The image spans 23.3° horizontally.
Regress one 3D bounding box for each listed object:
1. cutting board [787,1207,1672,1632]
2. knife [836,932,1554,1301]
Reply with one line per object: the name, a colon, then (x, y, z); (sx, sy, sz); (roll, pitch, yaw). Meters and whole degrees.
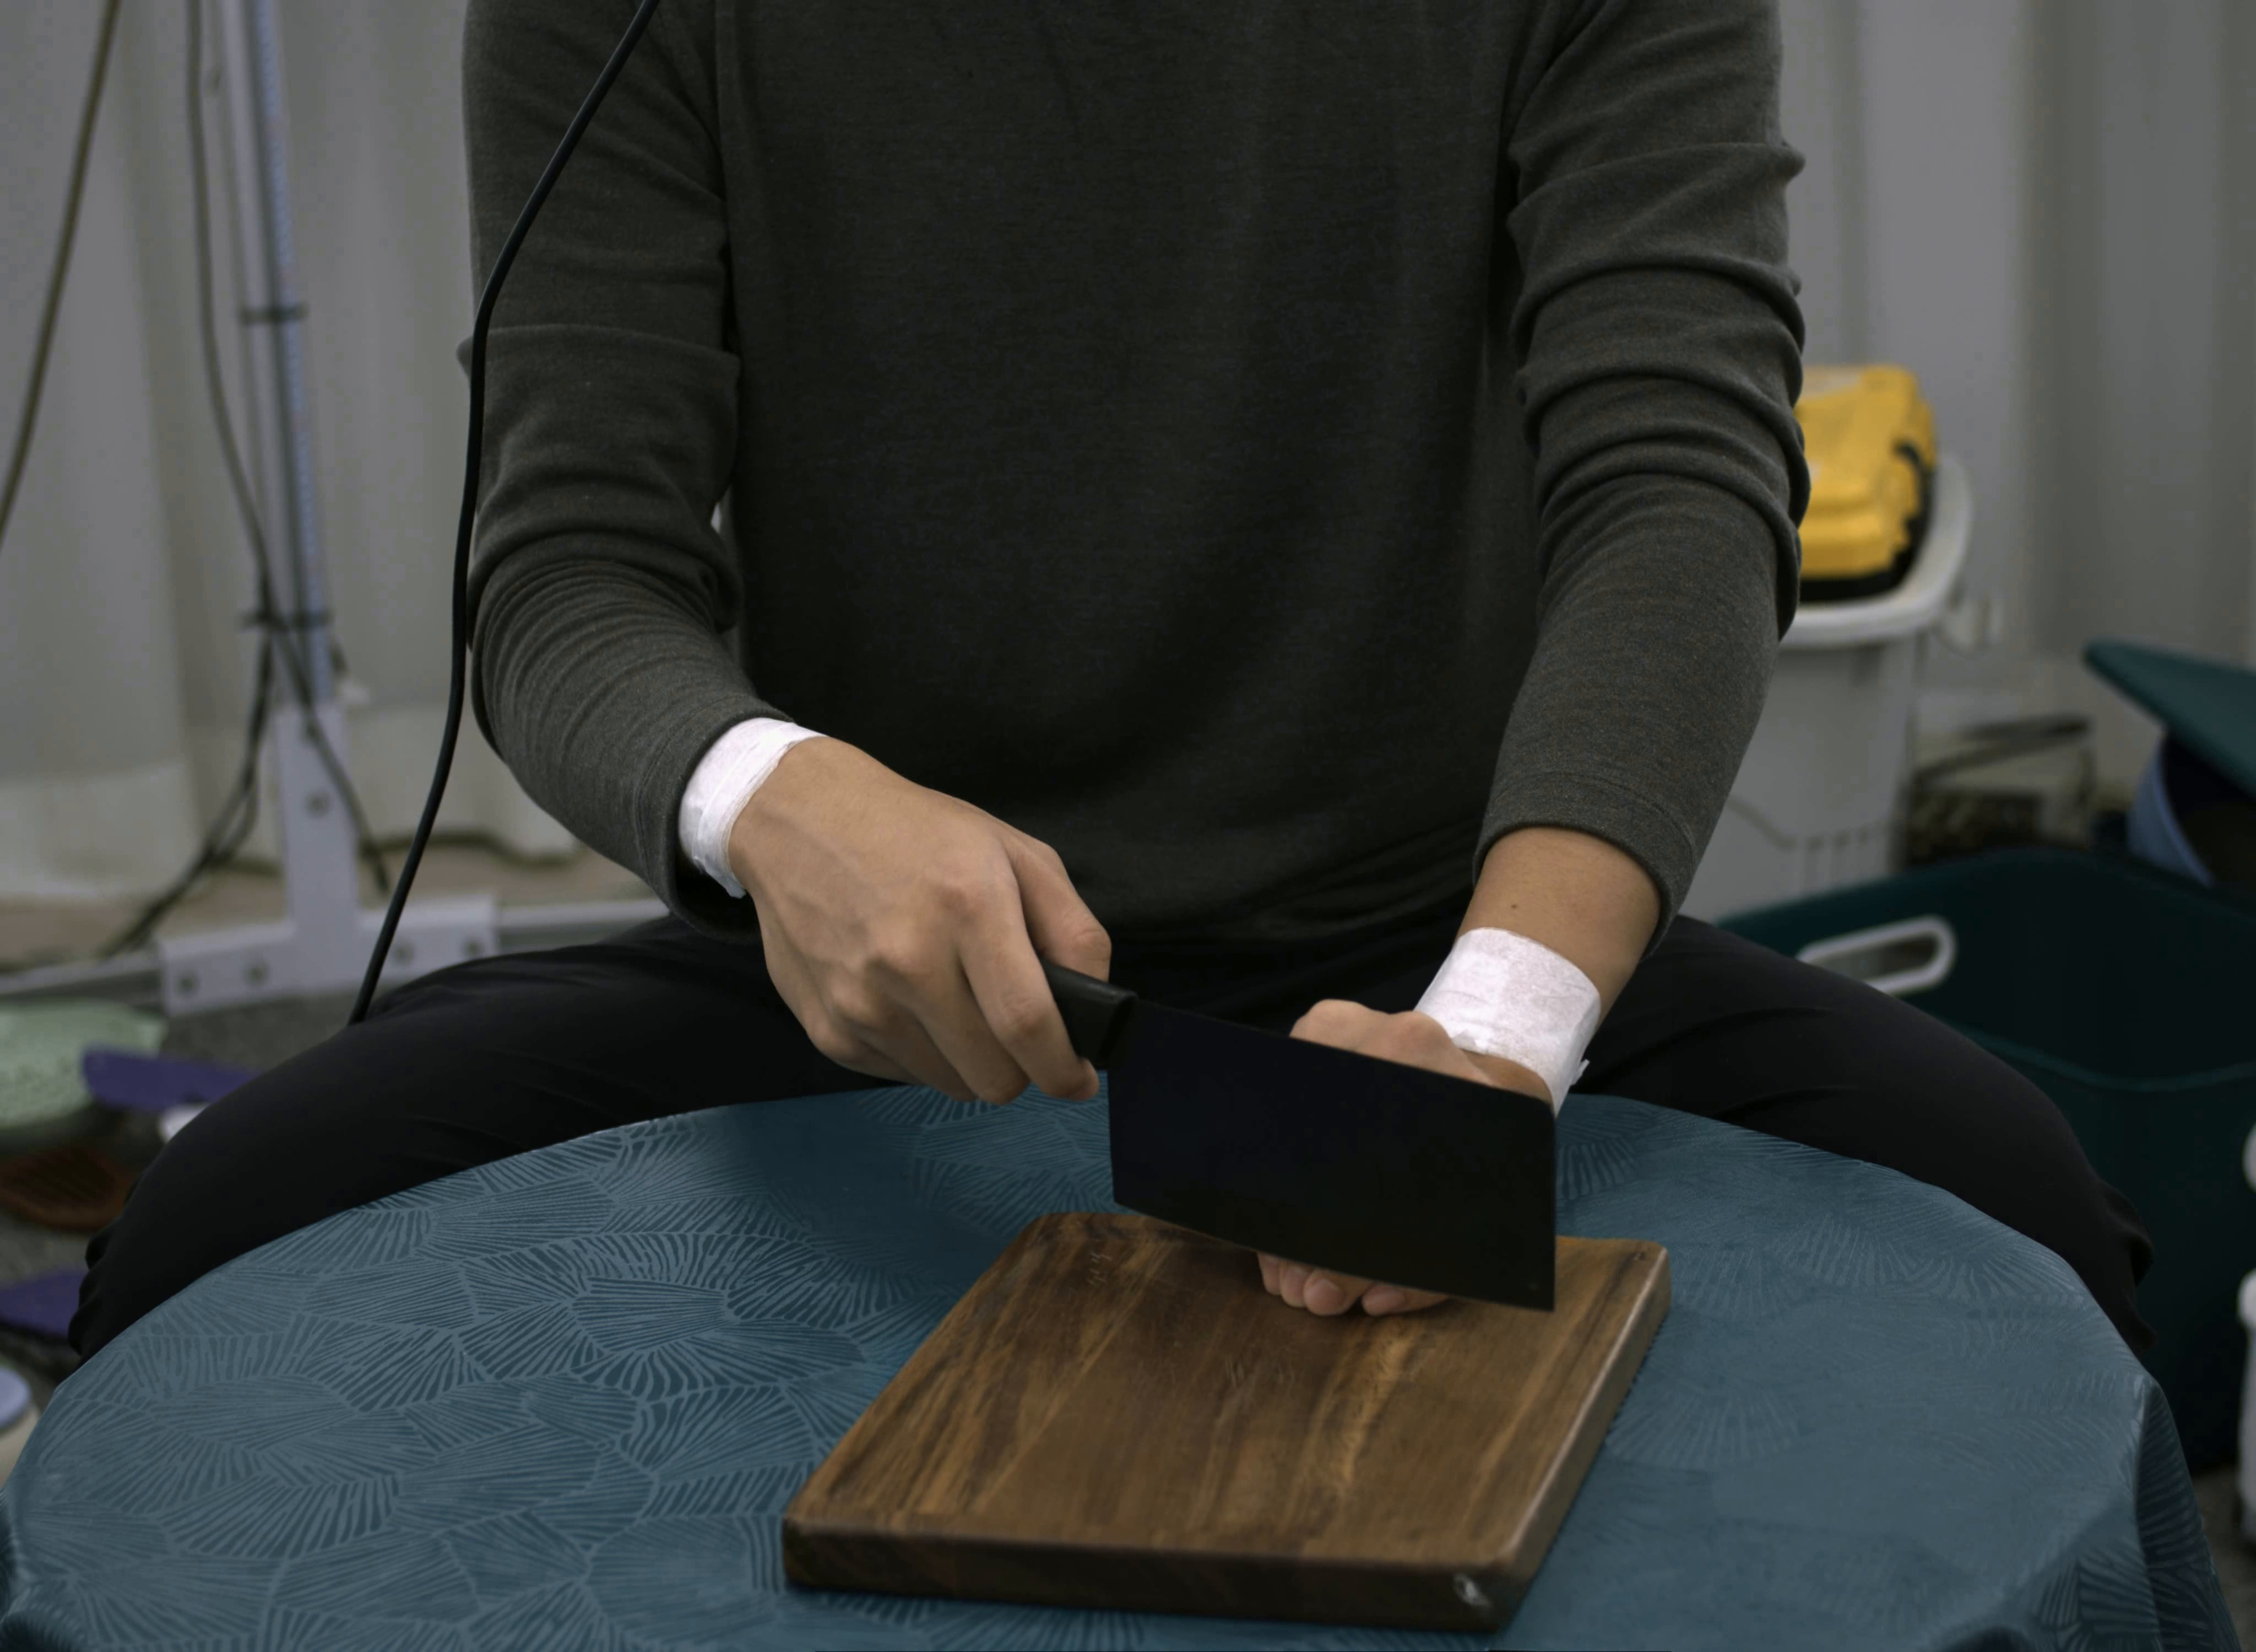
cutting board: (0.047, 0.146, 1.549); (0.201, 0.023, 0.353); (2, 15, 15)
knife: (0.015, 0.079, 1.582); (0.021, 0.080, 0.304); (-10, 18, -40)
